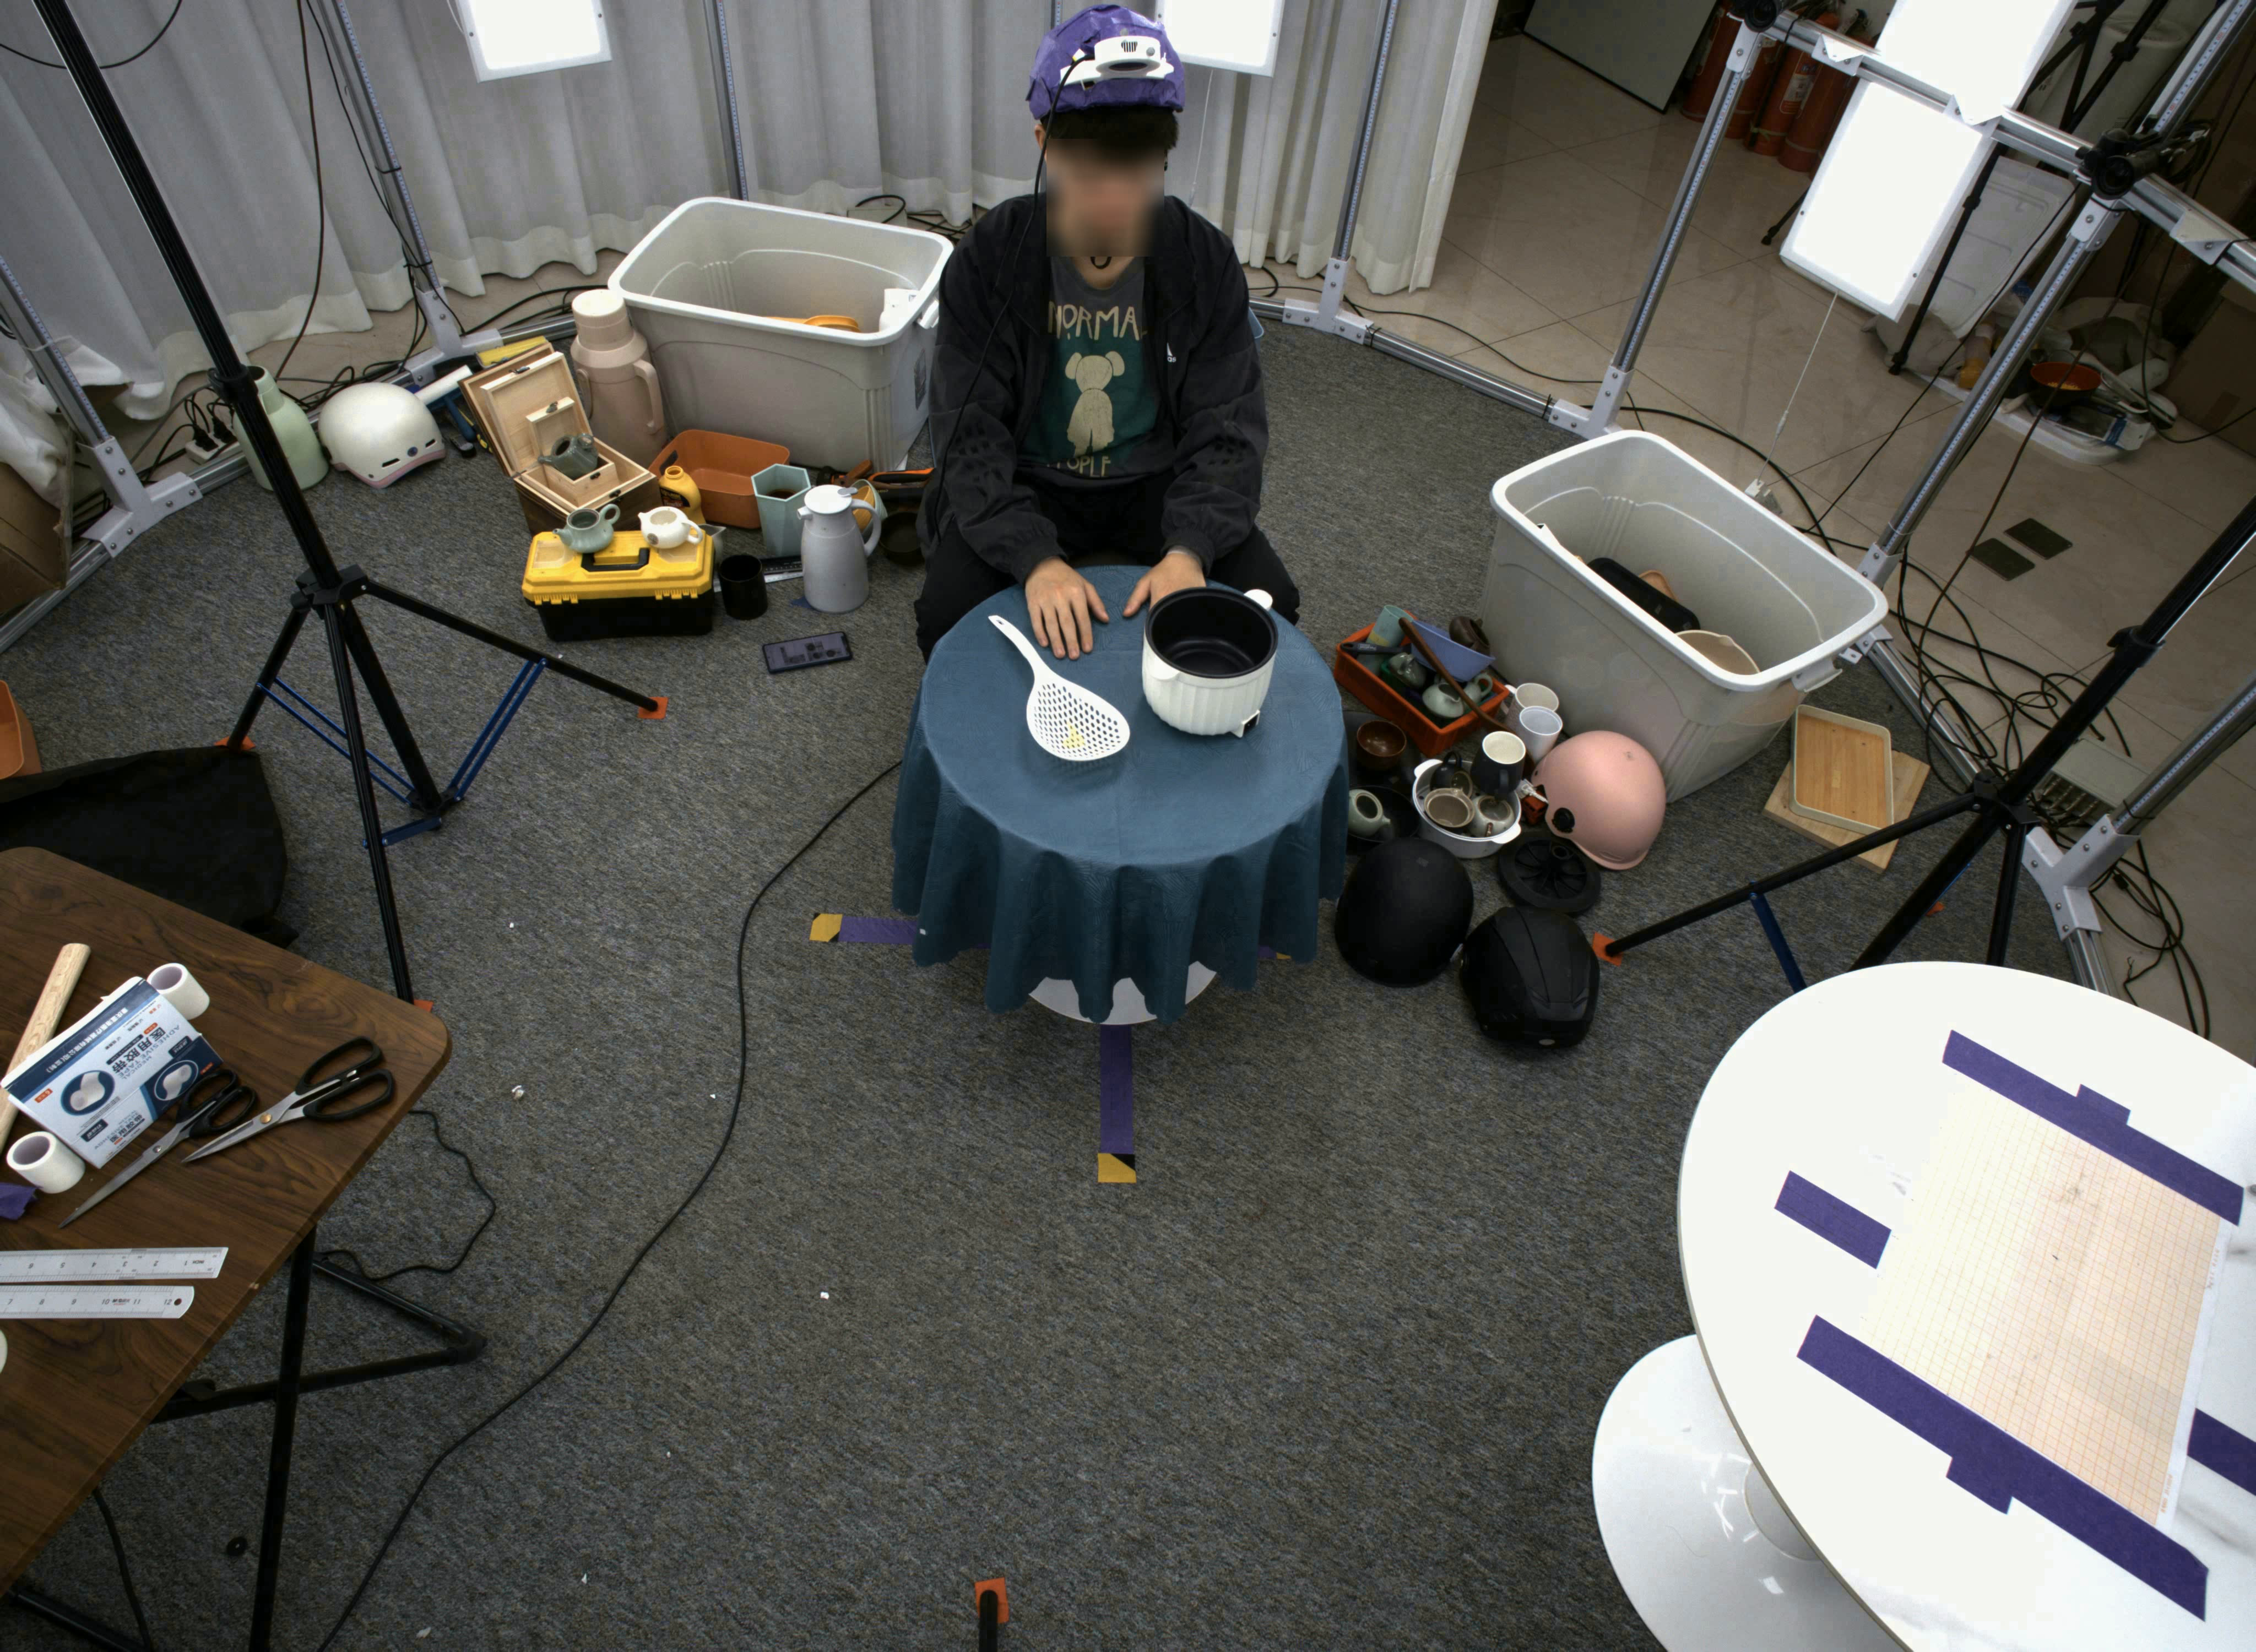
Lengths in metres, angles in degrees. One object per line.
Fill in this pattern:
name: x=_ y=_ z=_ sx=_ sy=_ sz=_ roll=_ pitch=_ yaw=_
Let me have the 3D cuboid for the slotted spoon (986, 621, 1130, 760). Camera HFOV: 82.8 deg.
slotted spoon: x=-0.118 y=-0.202 z=1.807 sx=0.137 sy=0.049 sz=0.356 roll=-16 pitch=51 yaw=-23

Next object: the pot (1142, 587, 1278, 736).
pot: x=0.103 y=-0.224 z=1.779 sx=0.193 sy=0.139 sz=0.243 roll=37 pitch=55 yaw=22
